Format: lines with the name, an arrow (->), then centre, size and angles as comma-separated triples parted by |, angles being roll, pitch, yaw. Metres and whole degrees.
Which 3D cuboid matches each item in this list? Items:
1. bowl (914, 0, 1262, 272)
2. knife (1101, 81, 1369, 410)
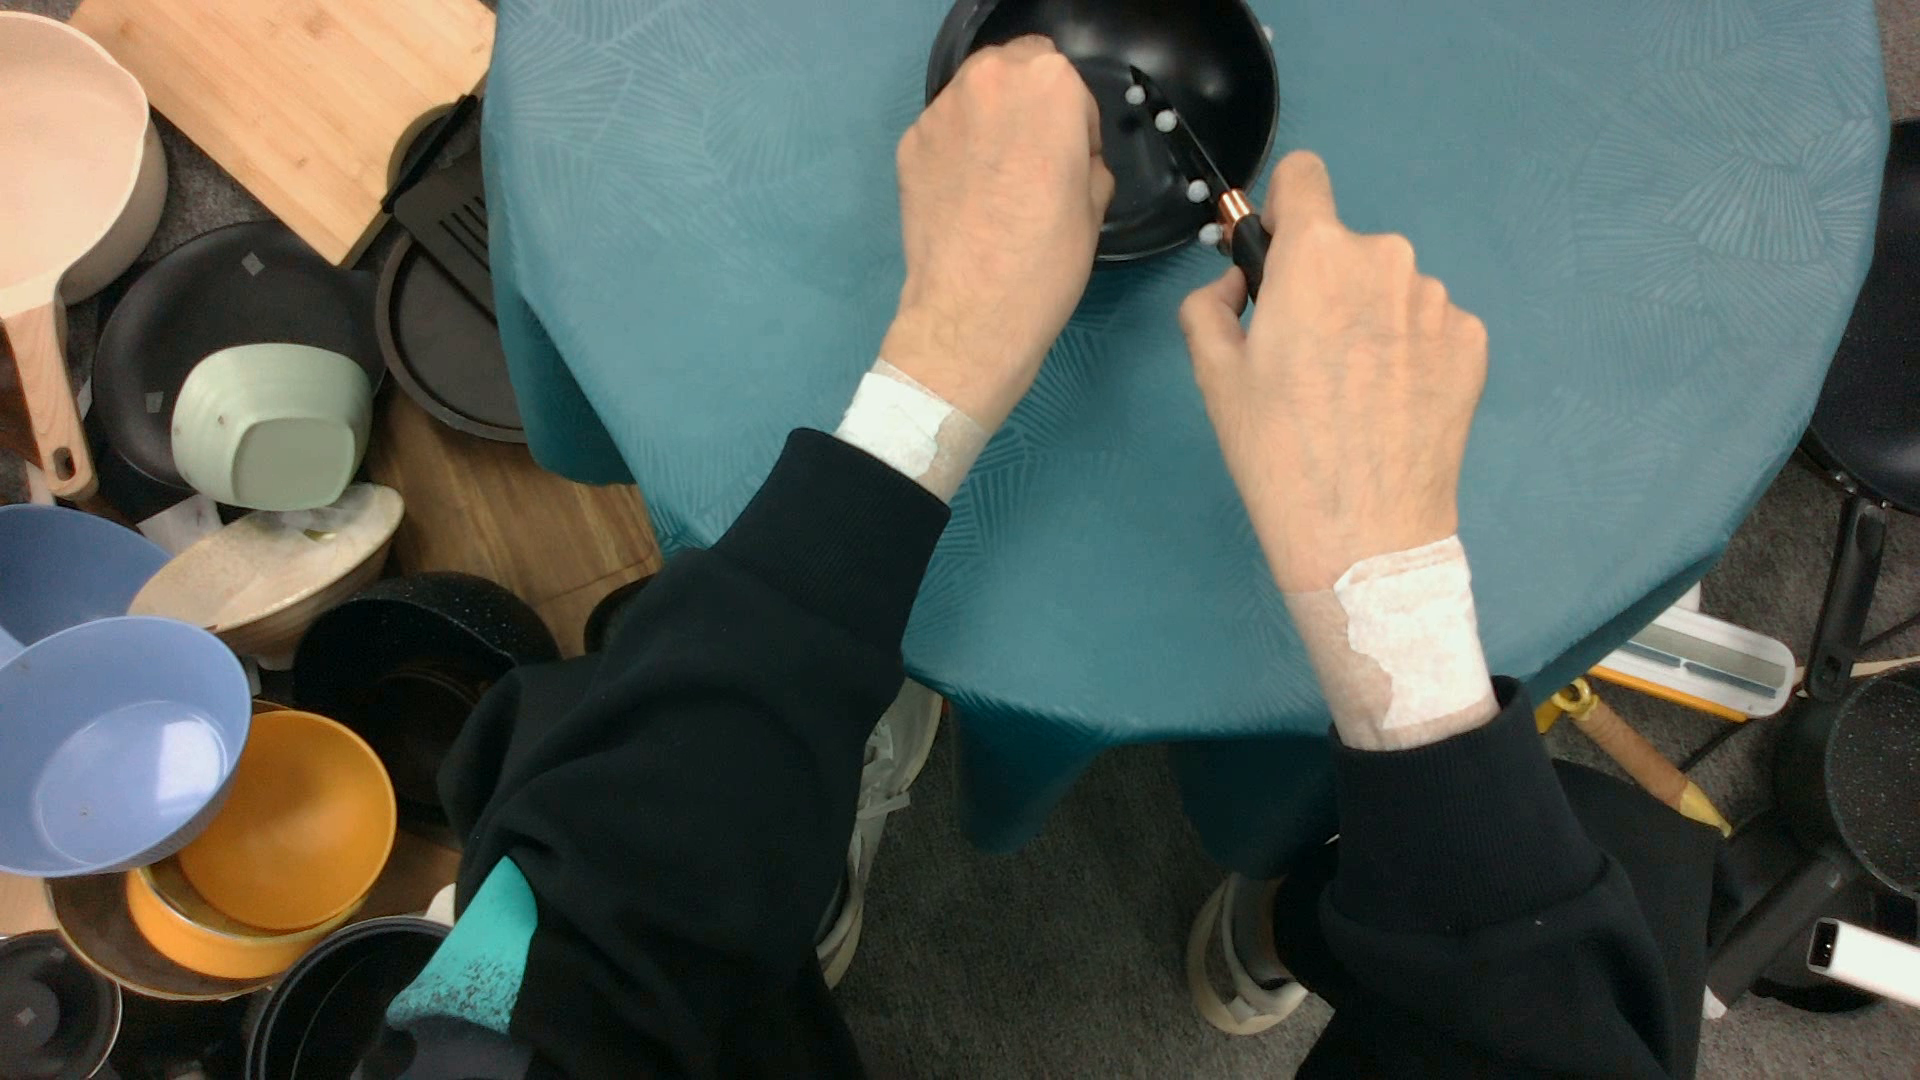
bowl -> 0.050, -0.172, 0.566 | 0.140, 0.050, 0.140 | 0, 83, -2
knife -> 0.094, -0.123, 0.517 | 0.017, 0.026, 0.226 | -12, 48, -11
